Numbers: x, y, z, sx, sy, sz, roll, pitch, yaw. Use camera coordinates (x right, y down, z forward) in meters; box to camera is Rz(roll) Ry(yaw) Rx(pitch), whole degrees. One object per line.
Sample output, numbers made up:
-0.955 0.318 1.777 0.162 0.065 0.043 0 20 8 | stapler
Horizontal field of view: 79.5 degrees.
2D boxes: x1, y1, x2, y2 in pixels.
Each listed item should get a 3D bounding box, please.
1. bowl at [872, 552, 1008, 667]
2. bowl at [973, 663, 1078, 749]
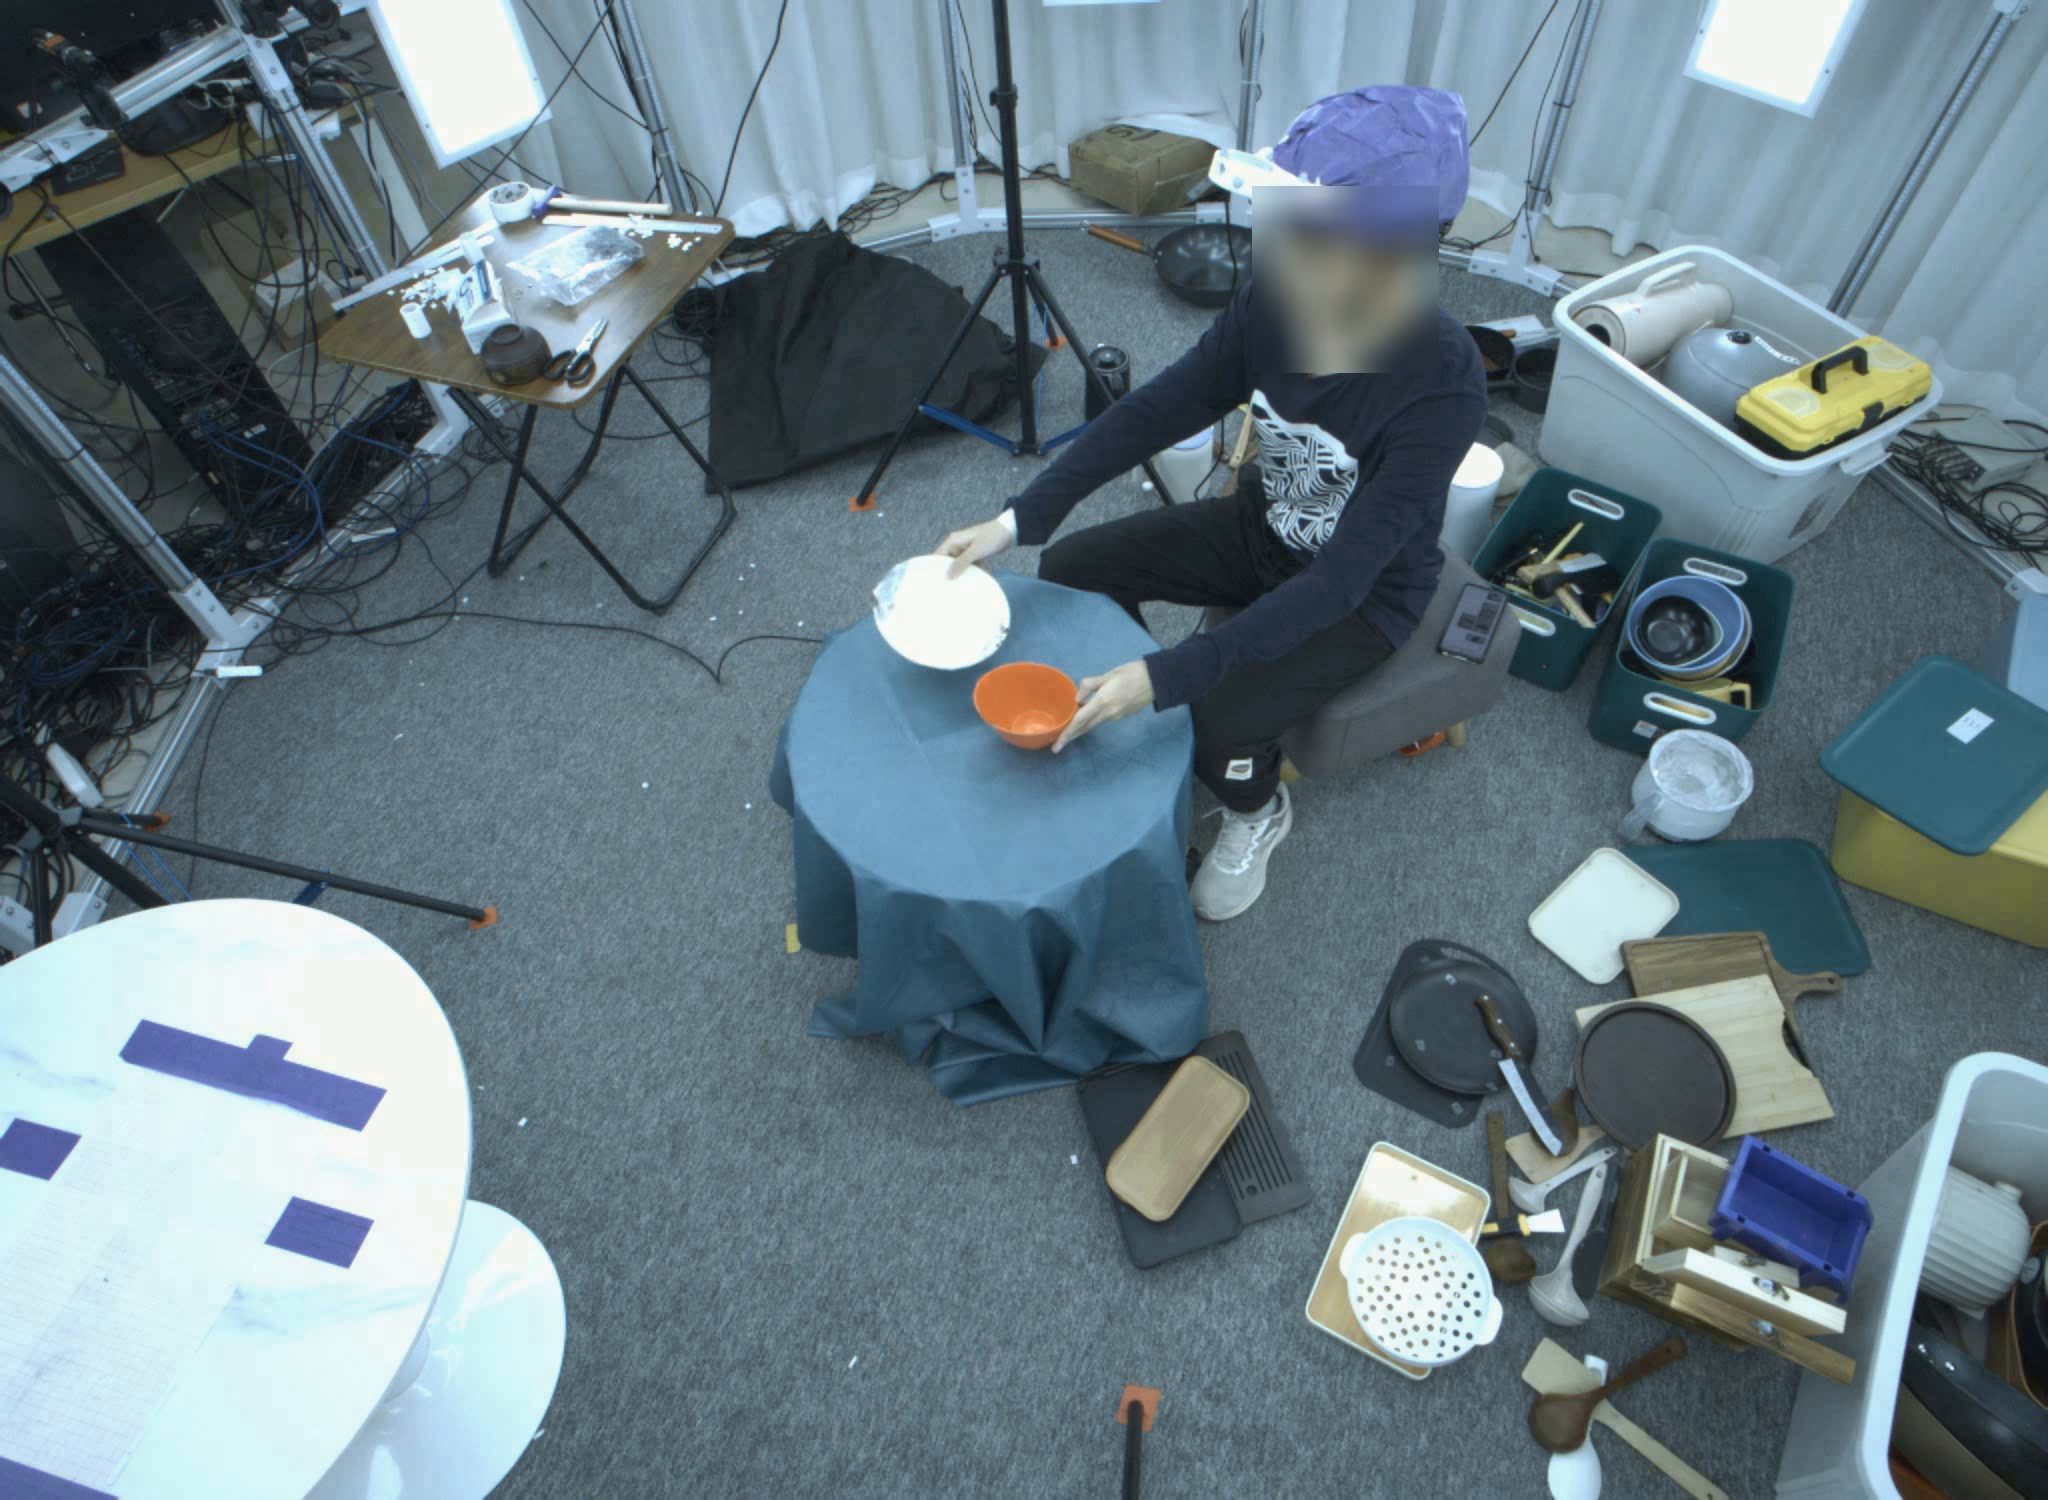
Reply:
-0.132 -0.193 1.842 0.206 0.078 0.202 8 60 -13 | bowl
0.004 -0.050 1.769 0.148 0.106 0.146 0 53 1 | bowl
